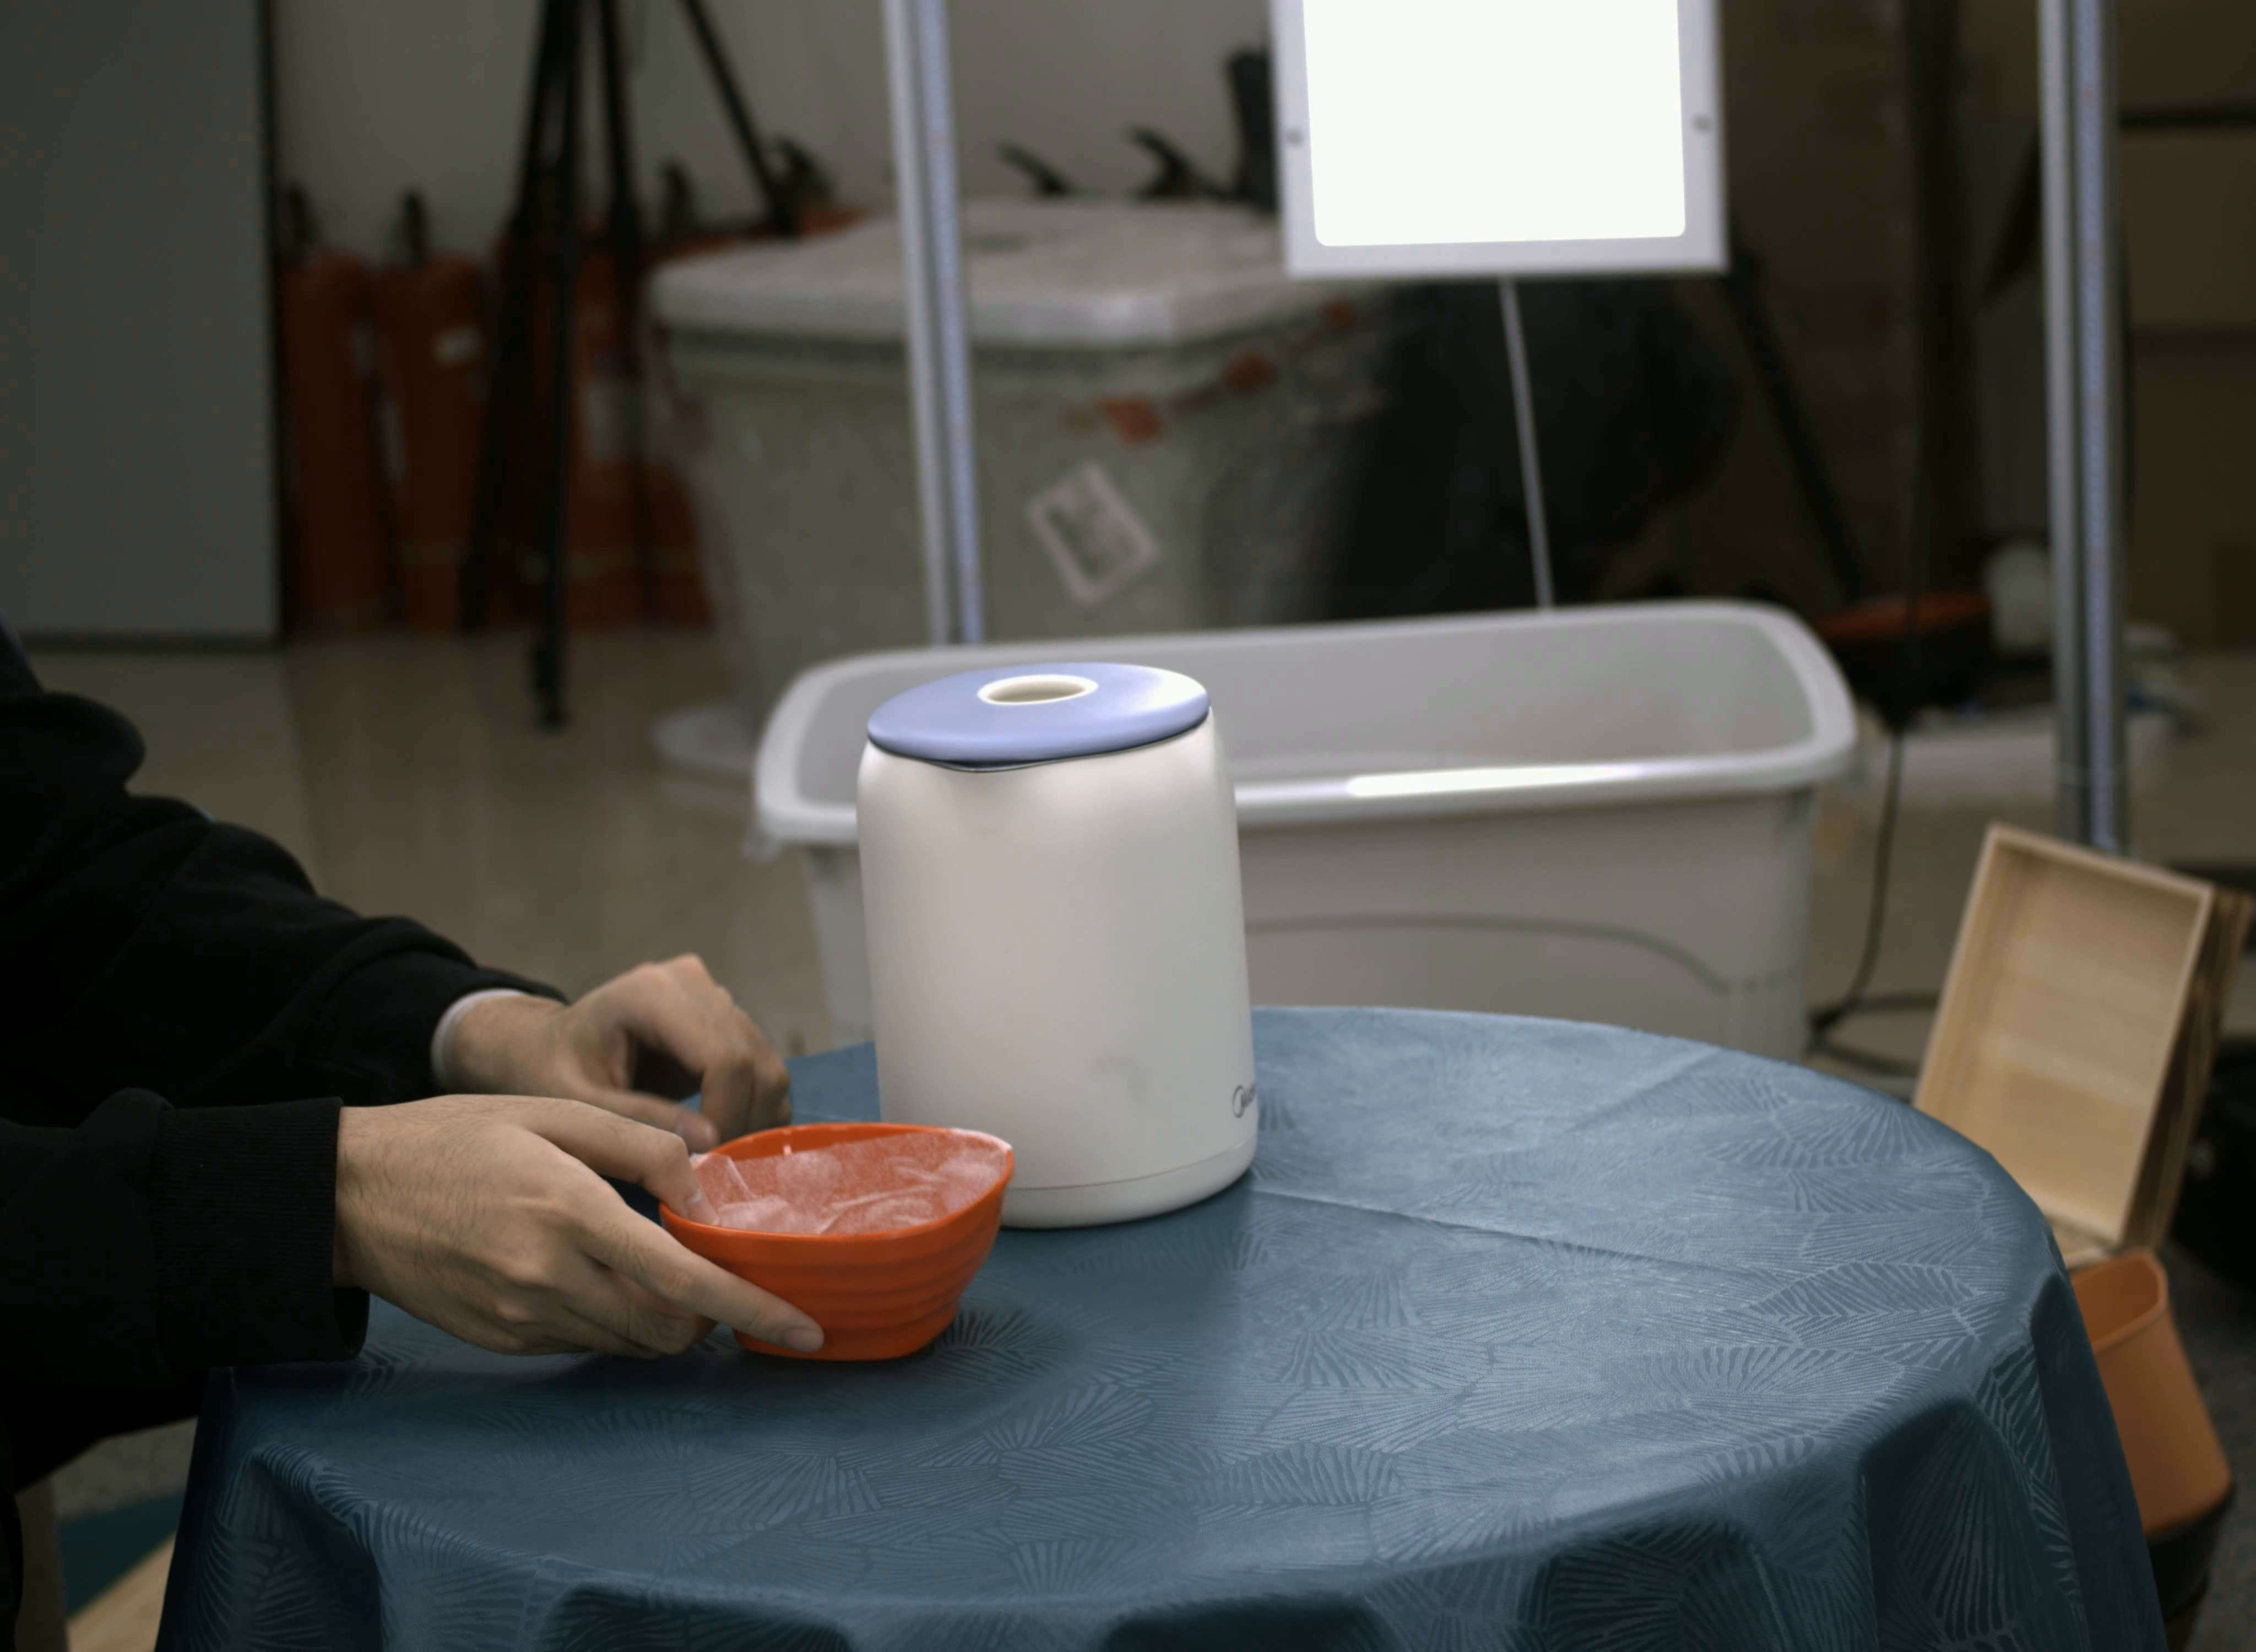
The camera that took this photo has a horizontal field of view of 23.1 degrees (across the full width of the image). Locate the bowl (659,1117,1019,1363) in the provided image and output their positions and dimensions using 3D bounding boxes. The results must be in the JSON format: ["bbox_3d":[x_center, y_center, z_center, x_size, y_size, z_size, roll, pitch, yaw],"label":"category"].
[{"bbox_3d":[-0.091,0.135,1.765,0.118,0.051,0.119,-3,17,-1],"label":"bowl"}]

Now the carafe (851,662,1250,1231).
[{"bbox_3d":[-0.020,0.035,1.918,0.133,0.183,0.188,1,12,16],"label":"carafe"}]
